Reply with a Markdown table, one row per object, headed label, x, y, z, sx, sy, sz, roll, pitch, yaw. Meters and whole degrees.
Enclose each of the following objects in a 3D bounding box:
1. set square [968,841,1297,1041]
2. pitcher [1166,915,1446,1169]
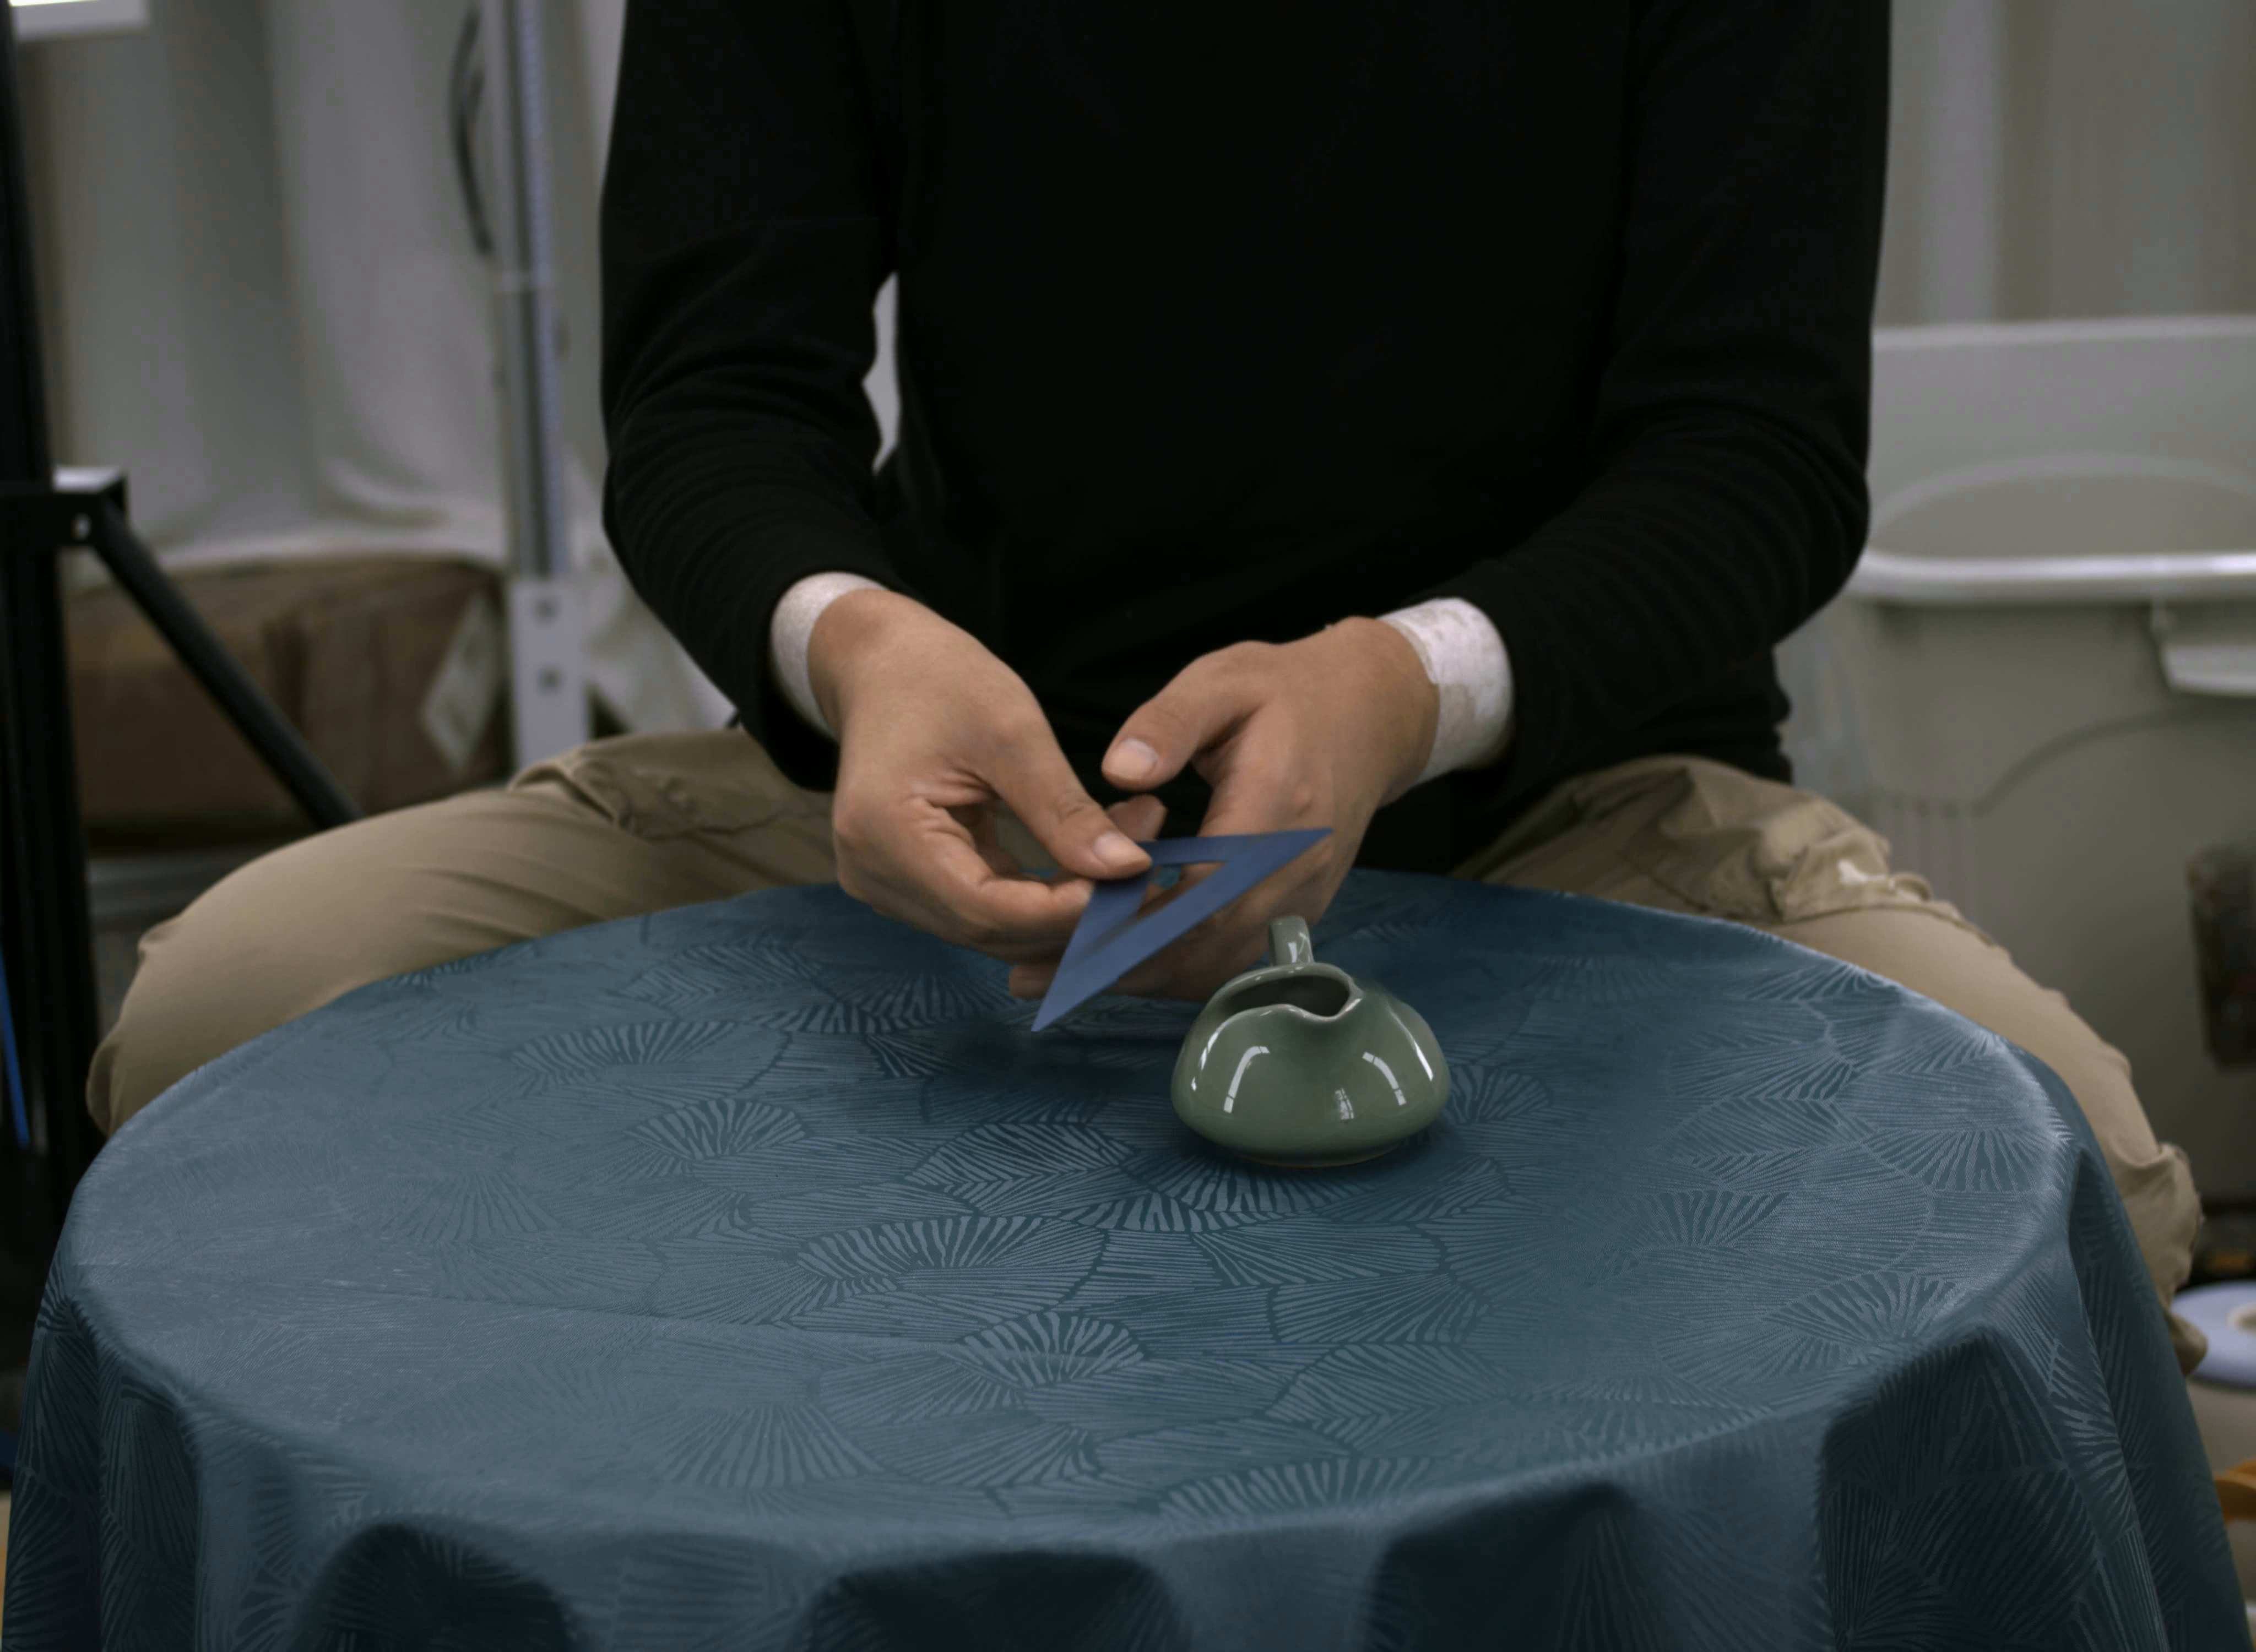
| label | x | y | z | sx | sy | sz | roll | pitch | yaw |
| --- | --- | --- | --- | --- | --- | --- | --- | --- | --- |
| set square | -0.013 | 0.029 | 1.611 | 0.130 | 0.006 | 0.062 | -31 | 32 | -34 |
| pitcher | 0.053 | 0.066 | 1.595 | 0.083 | 0.056 | 0.113 | -1 | 15 | -5 |
